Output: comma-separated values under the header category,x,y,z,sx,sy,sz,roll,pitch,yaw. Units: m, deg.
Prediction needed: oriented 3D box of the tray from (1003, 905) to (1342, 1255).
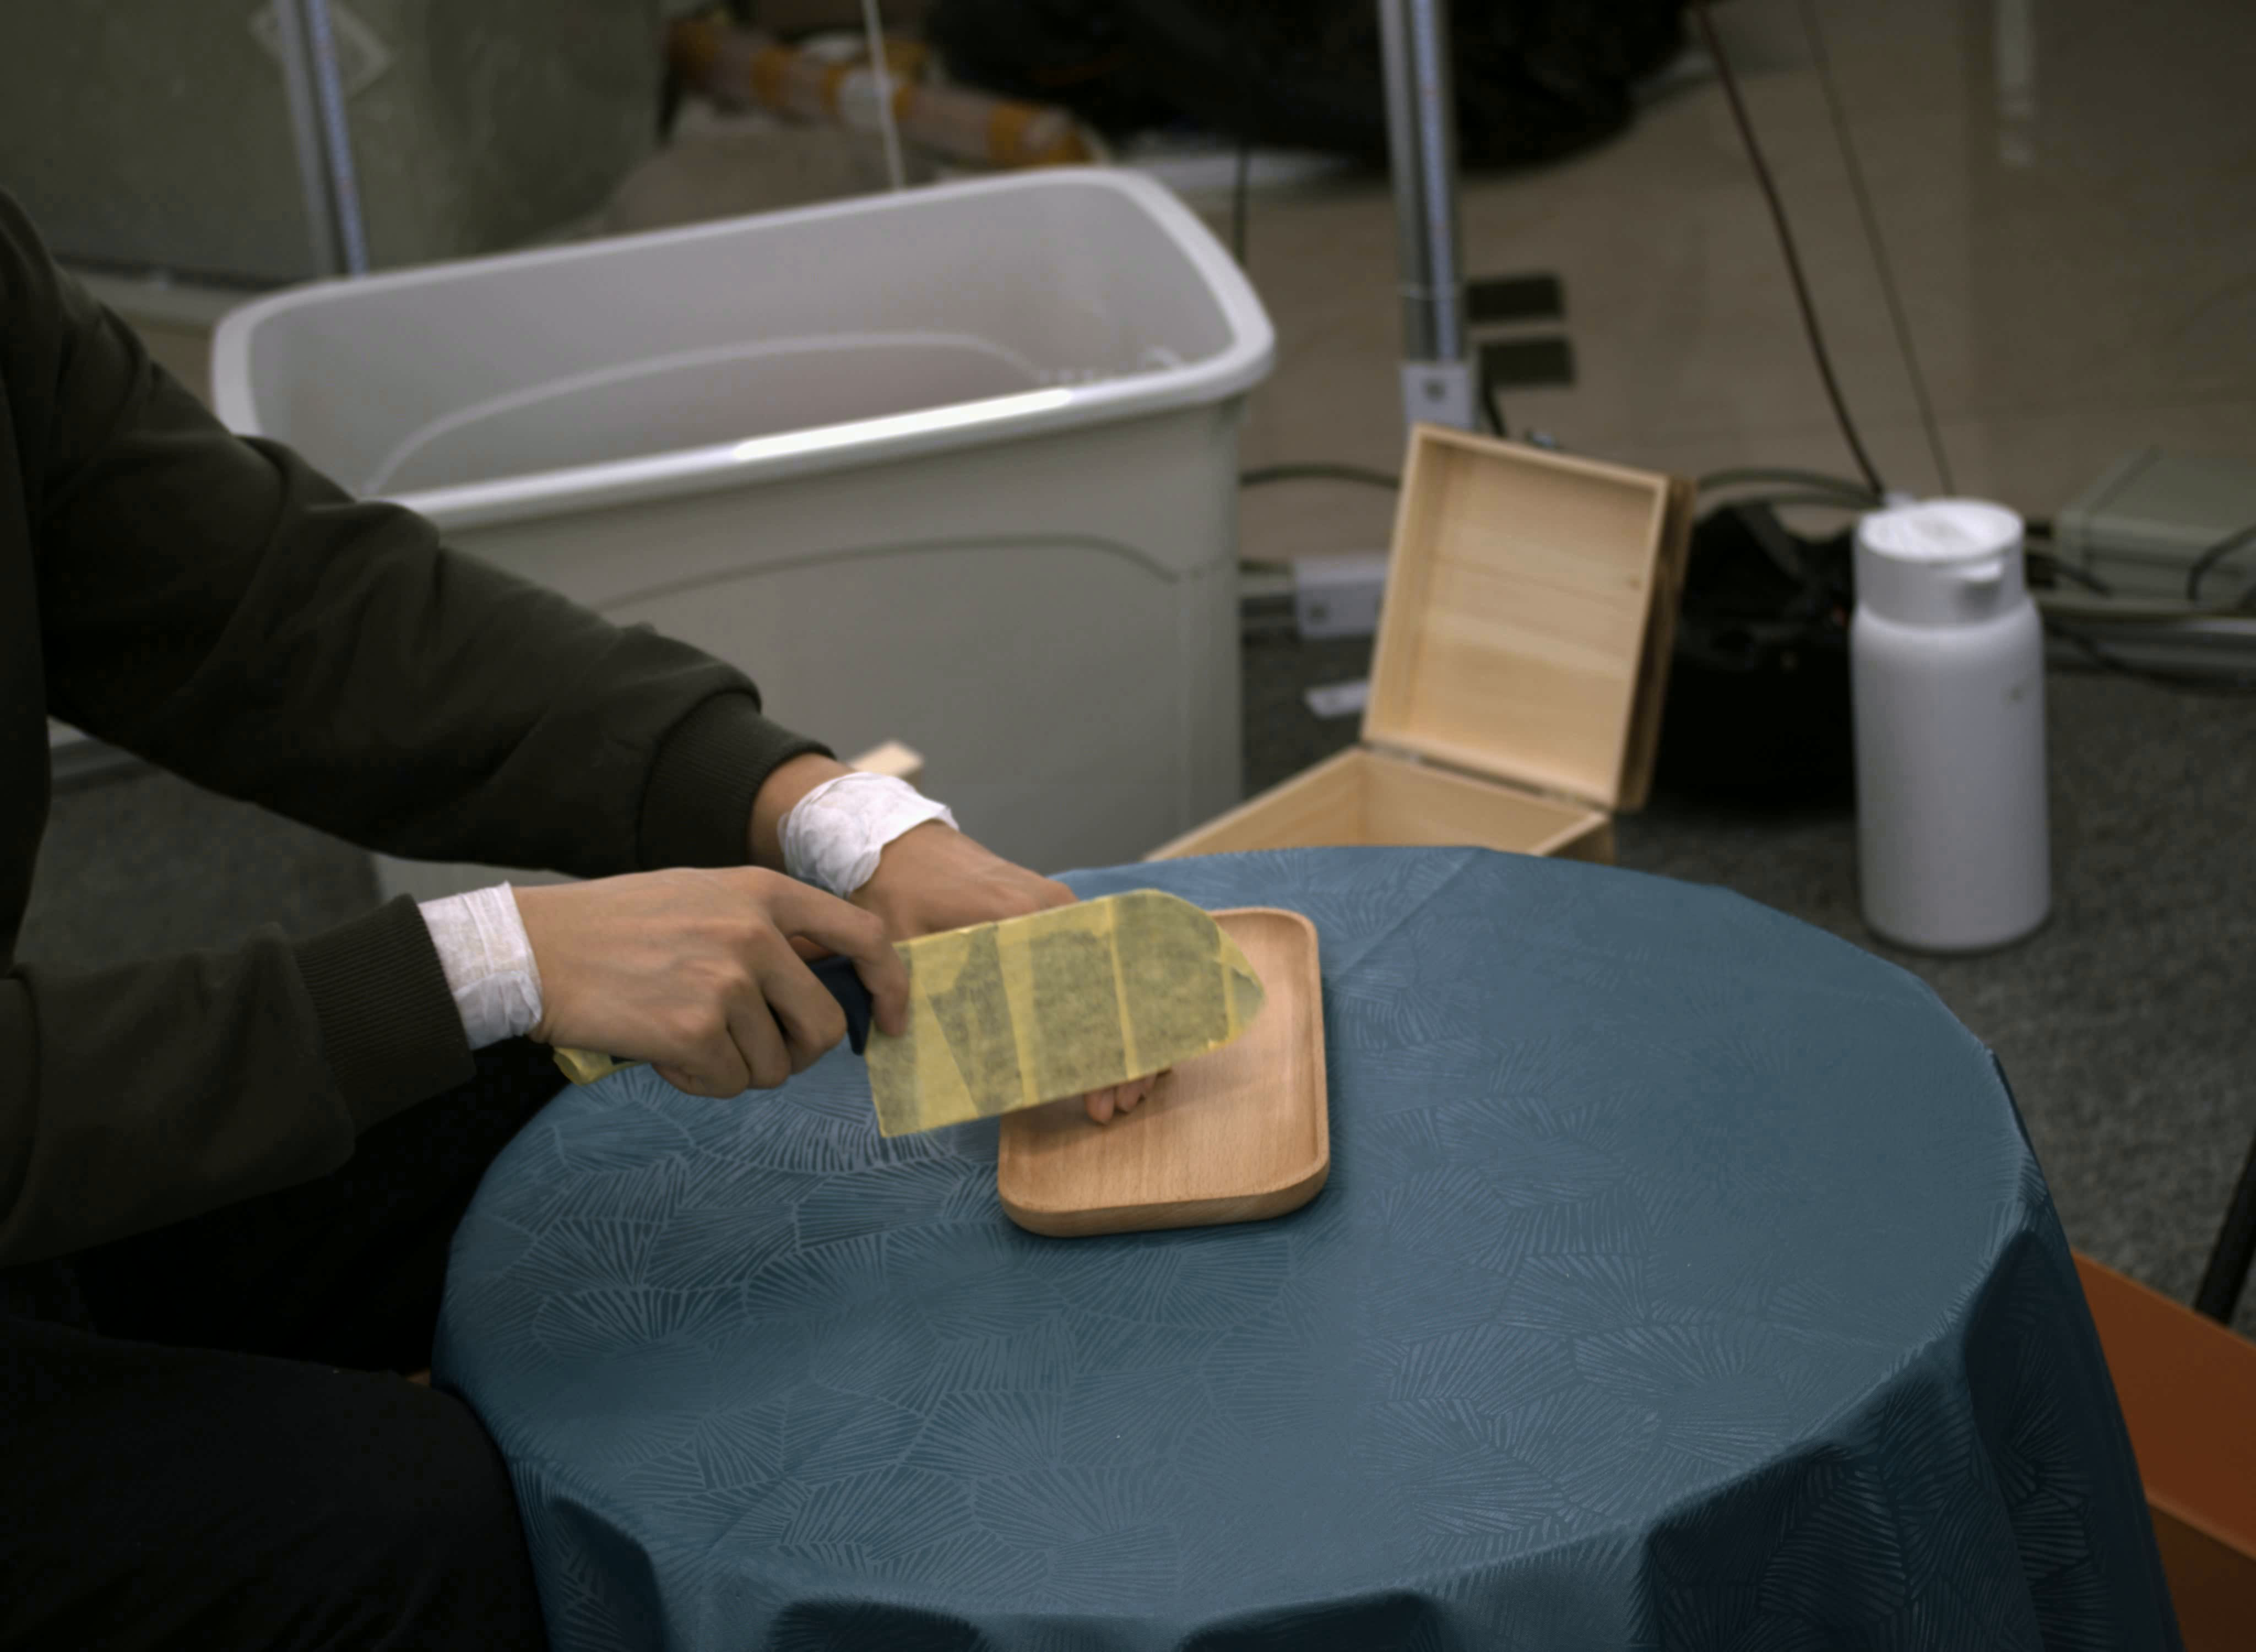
category,x,y,z,sx,sy,sz,roll,pitch,yaw
tray,0.017,0.098,2.226,0.130,0.023,0.247,-8,27,4

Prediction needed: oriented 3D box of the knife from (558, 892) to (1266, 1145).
category,x,y,z,sx,sy,sz,roll,pitch,yaw
knife,-0.077,0.078,2.140,0.288,0.081,0.027,-9,6,-23
